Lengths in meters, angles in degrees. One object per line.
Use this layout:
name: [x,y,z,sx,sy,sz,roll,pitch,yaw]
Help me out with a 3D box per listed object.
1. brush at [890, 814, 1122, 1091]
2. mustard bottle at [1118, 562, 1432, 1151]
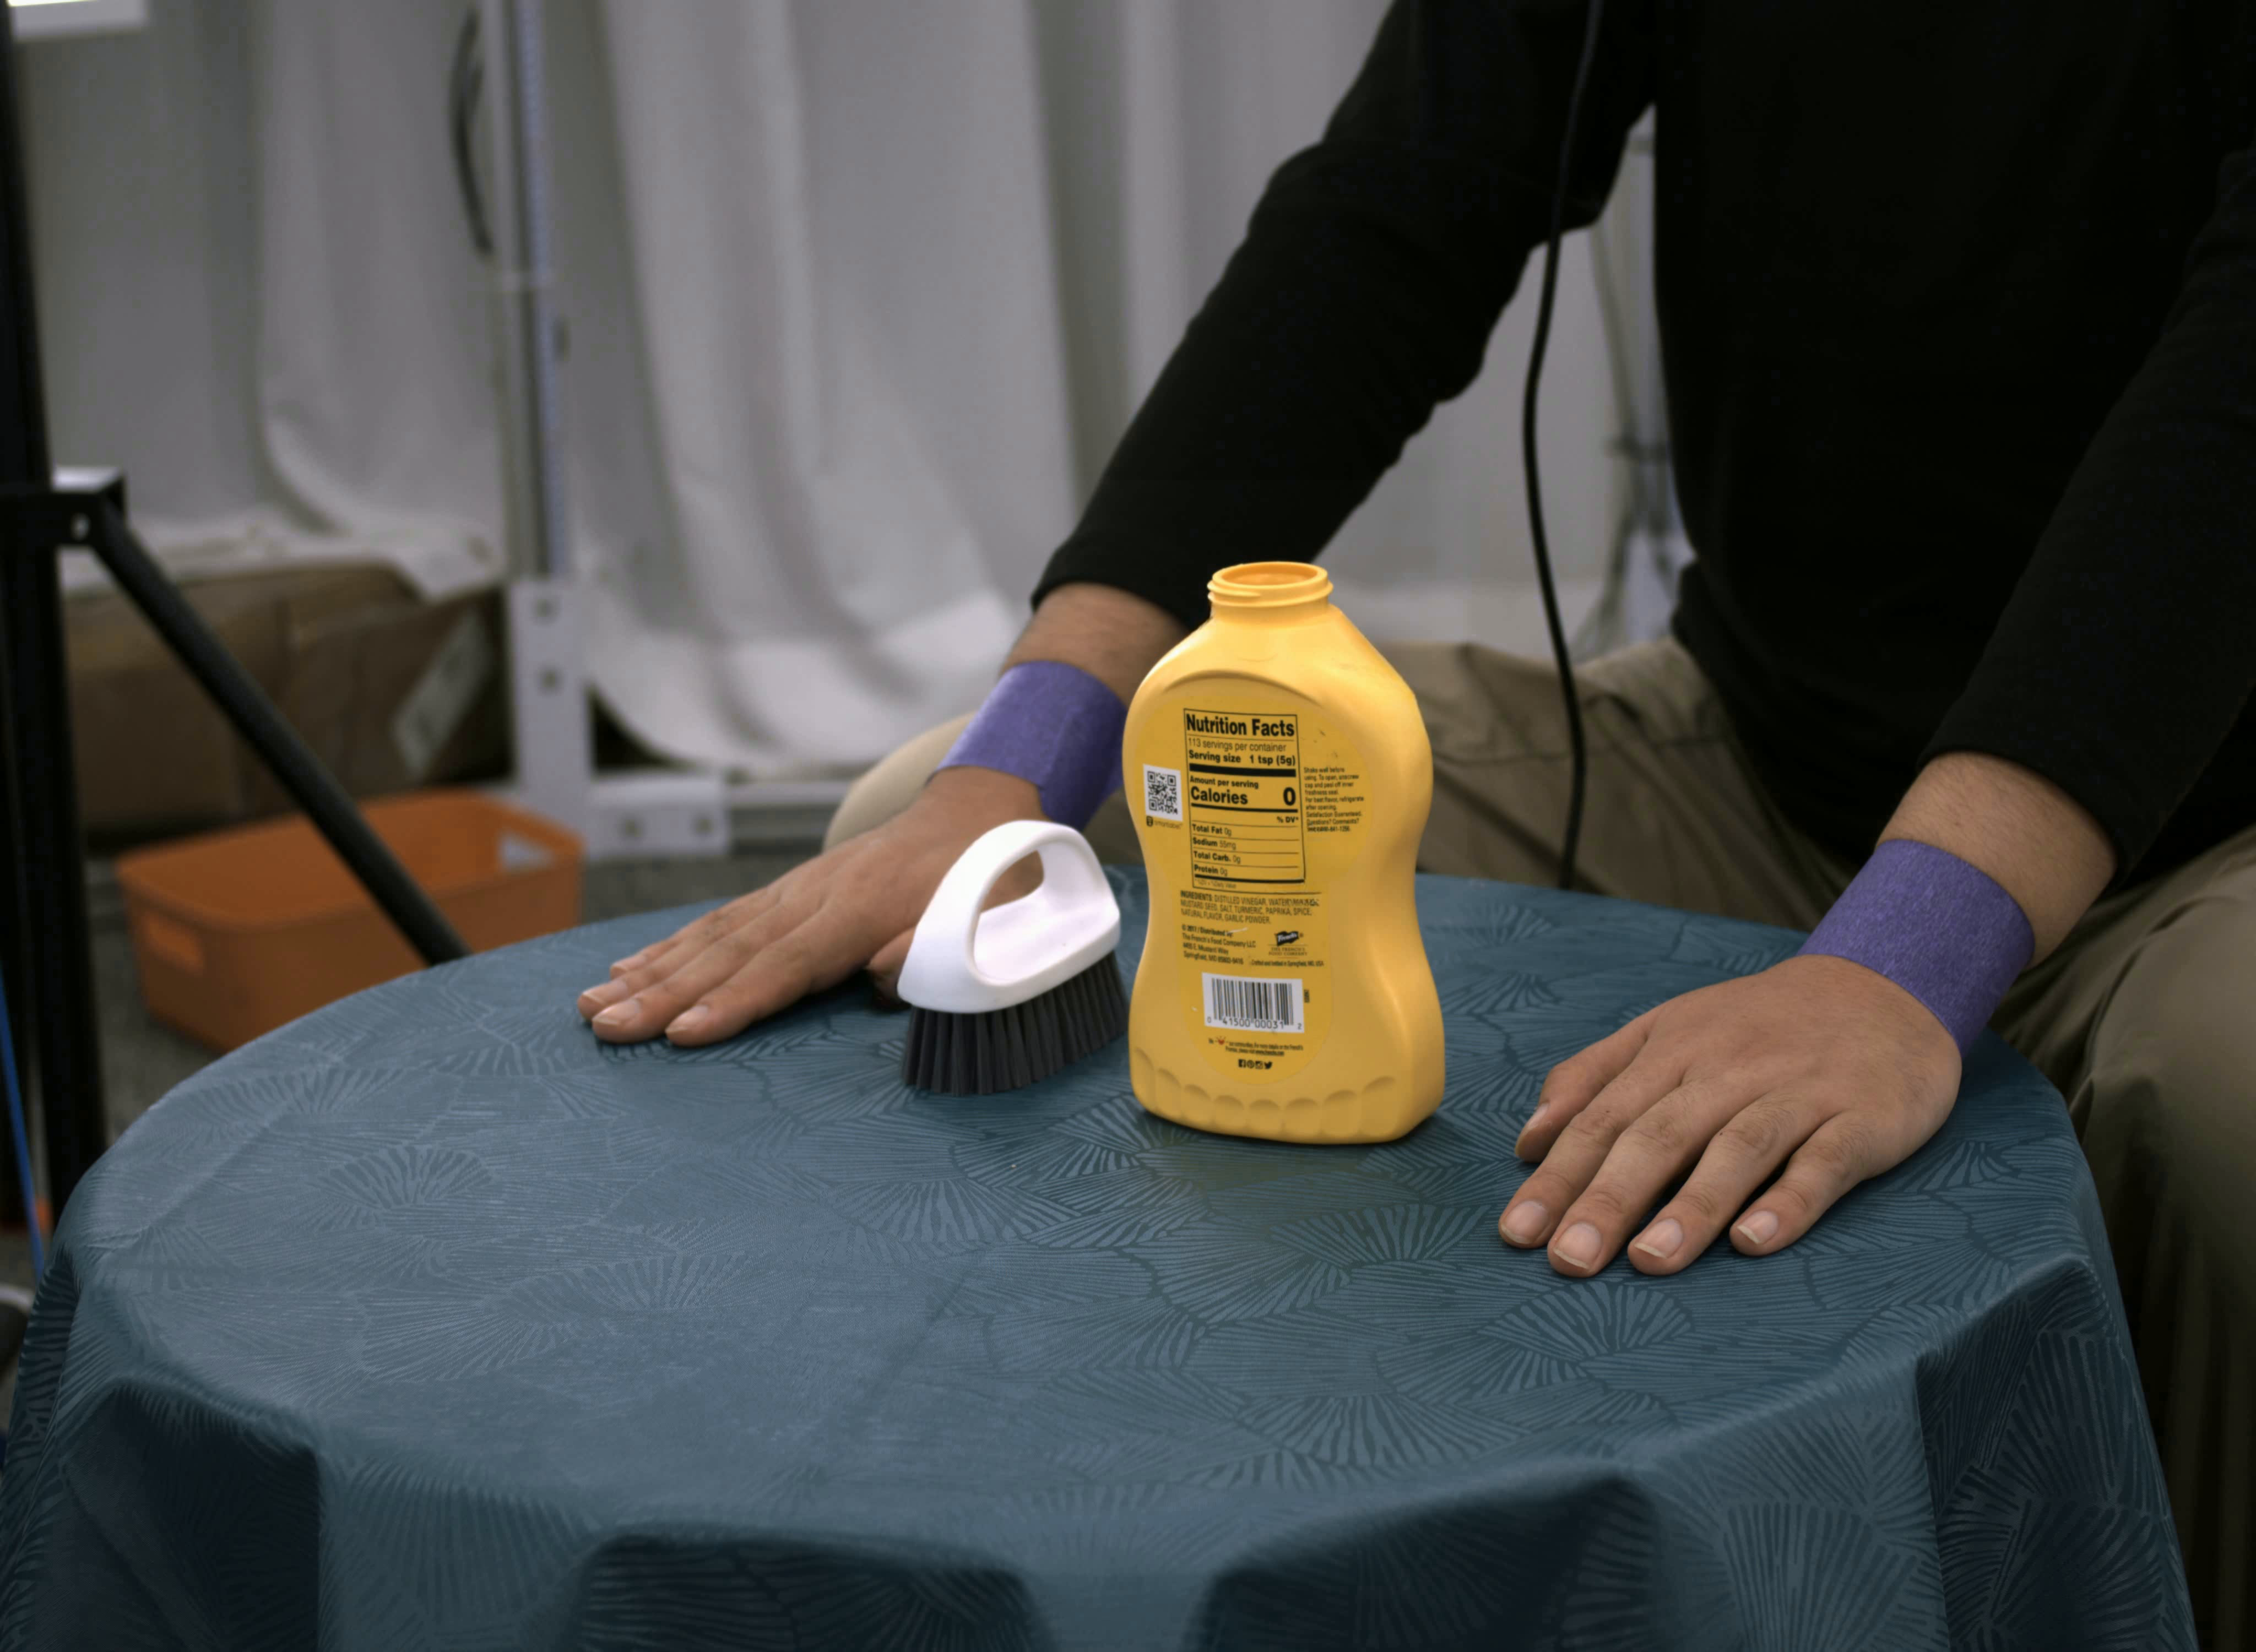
brush: [-0.039,0.035,1.688,0.051,0.072,0.097,8,20,30]
mustard bottle: [0.043,0.008,1.598,0.100,0.172,0.058,4,13,26]
